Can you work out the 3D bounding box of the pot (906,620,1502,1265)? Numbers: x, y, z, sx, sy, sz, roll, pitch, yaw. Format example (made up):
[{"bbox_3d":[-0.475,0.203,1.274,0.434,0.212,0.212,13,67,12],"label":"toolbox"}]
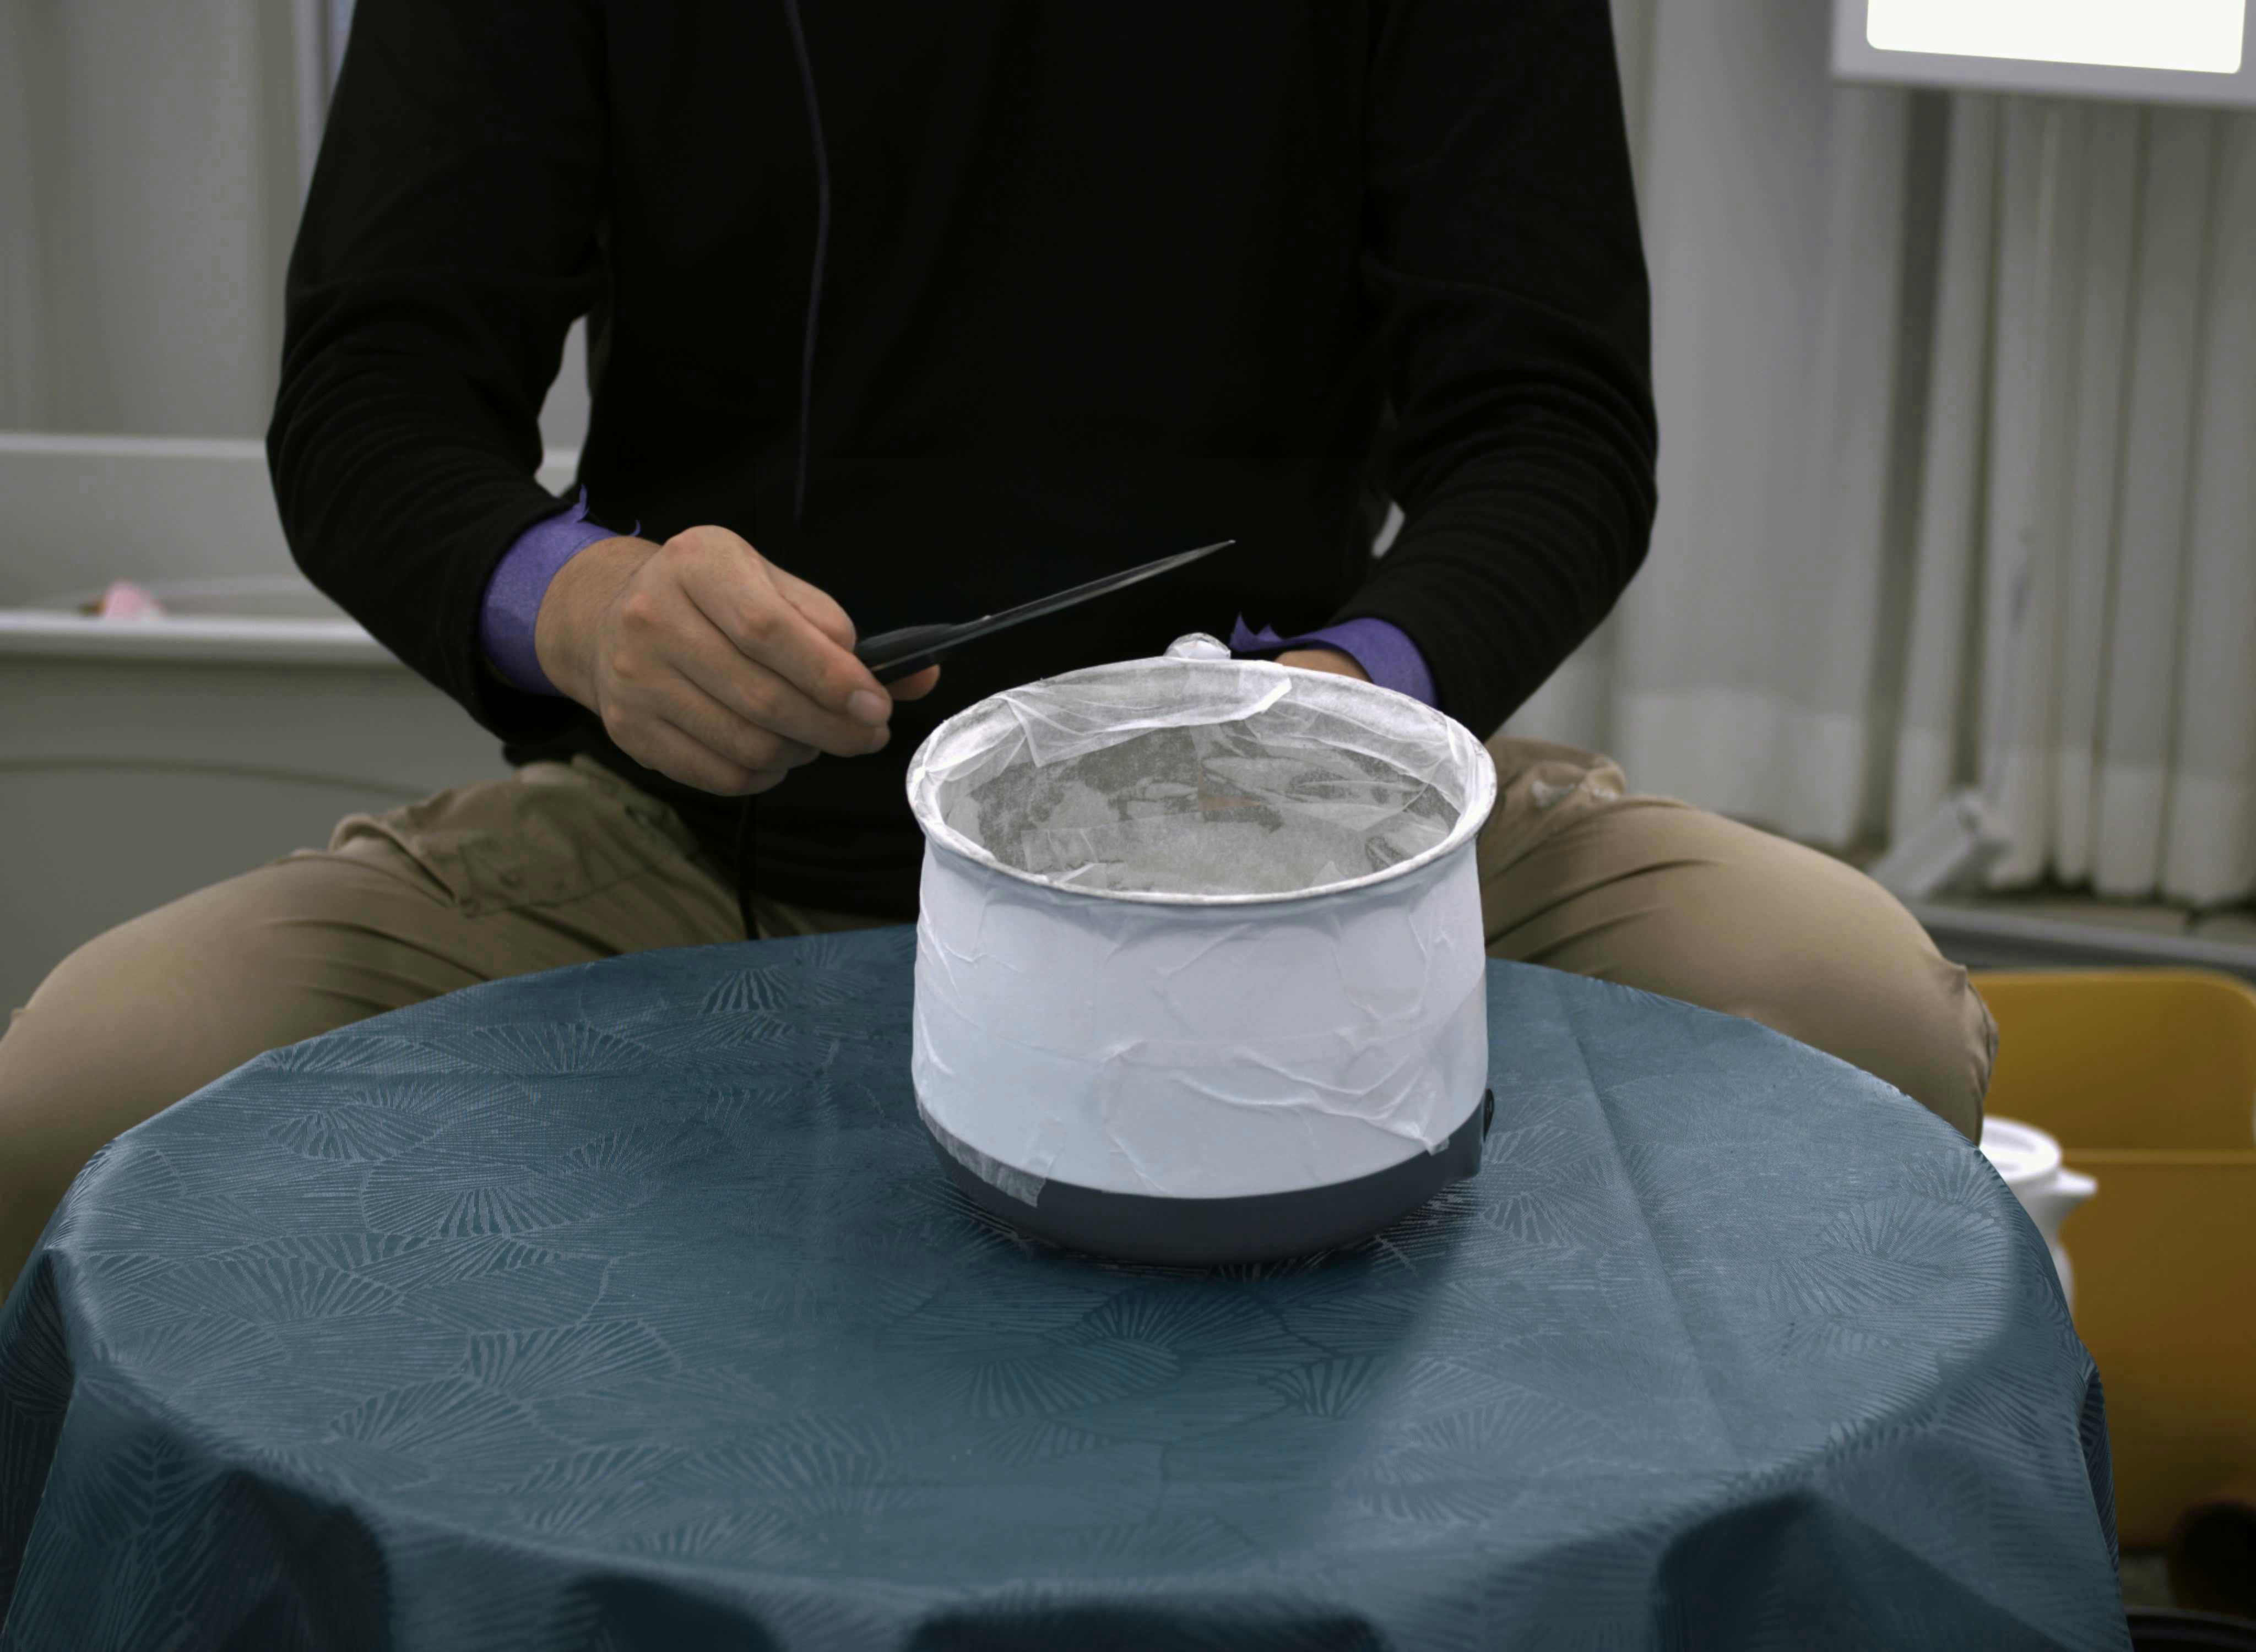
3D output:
[{"bbox_3d":[0.021,0.028,1.616,0.178,0.138,0.232,0,26,-2],"label":"pot"}]

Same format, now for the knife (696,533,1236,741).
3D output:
[{"bbox_3d":[-0.055,-0.060,1.660,0.236,0.016,0.024,-17,12,40],"label":"knife"}]
